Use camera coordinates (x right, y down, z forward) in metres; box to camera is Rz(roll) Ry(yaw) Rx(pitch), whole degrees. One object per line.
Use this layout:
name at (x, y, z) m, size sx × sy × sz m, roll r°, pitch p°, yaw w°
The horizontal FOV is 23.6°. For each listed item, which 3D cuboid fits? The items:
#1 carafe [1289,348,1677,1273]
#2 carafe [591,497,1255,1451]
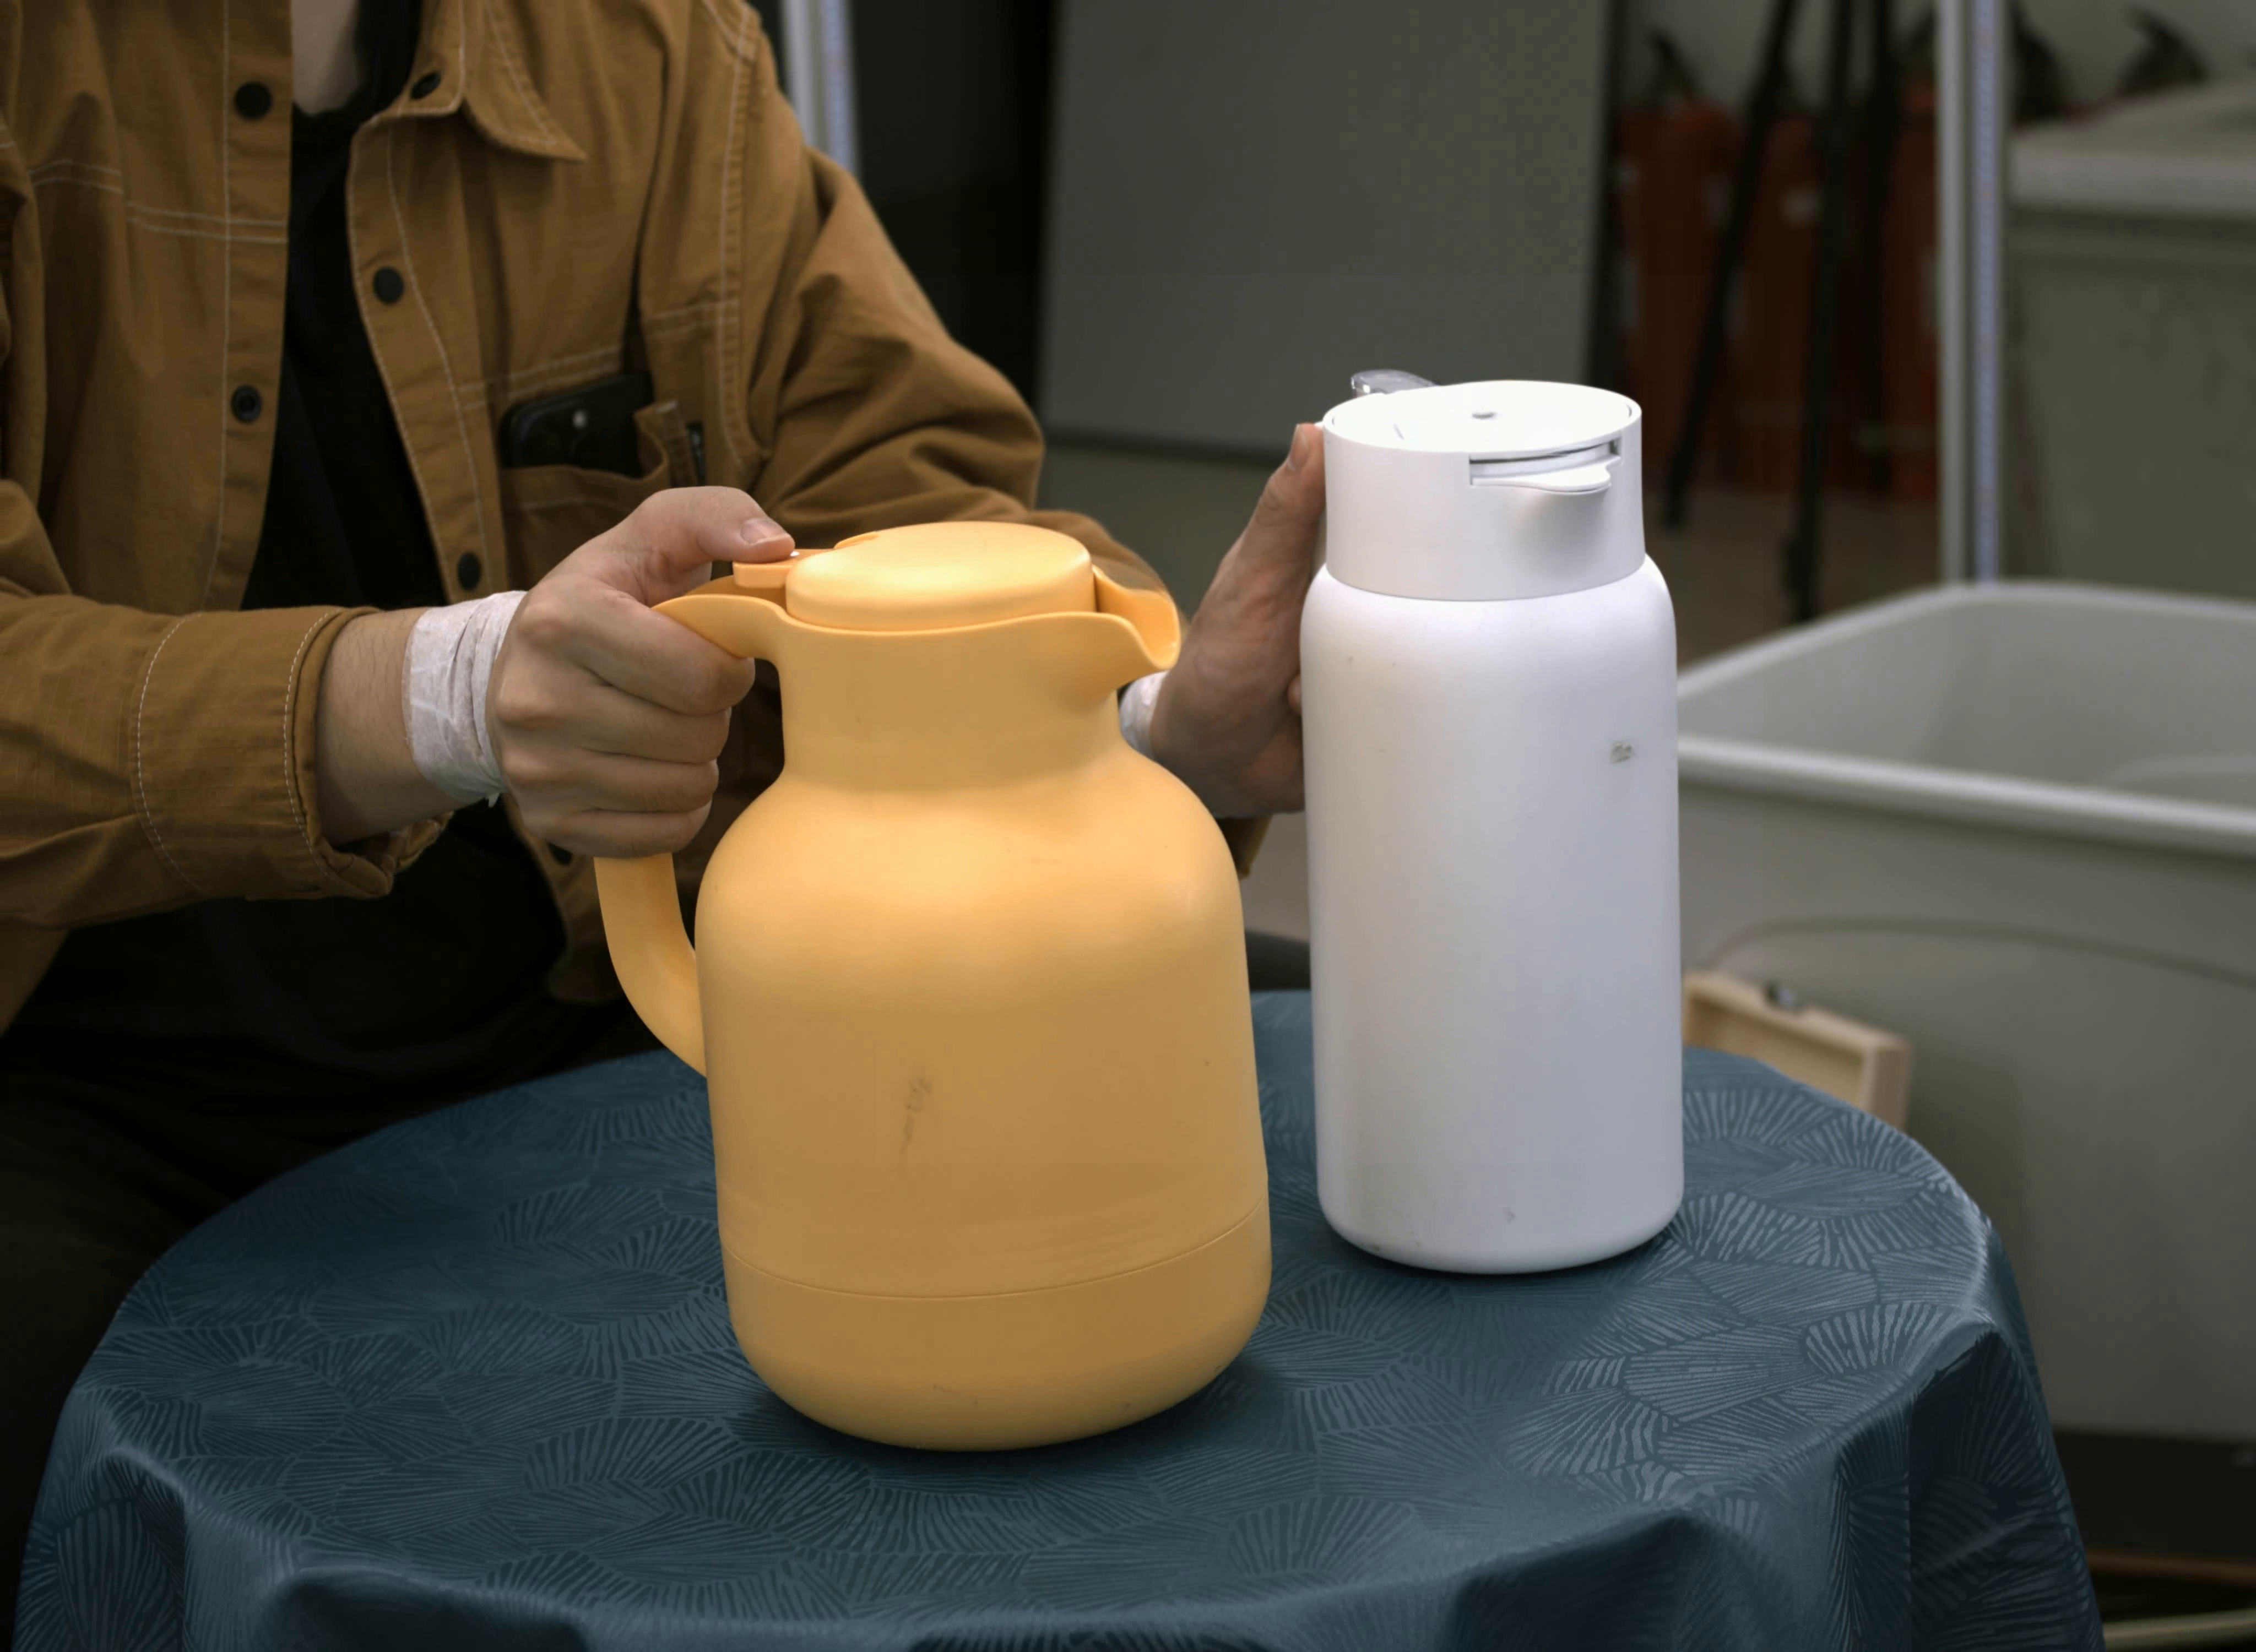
carafe at (0.103, -0.008, 1.691) m, size 0.121 × 0.271 × 0.174 m, roll -12°, pitch 18°, yaw -23°
carafe at (-0.063, 0.037, 1.574) m, size 0.203 × 0.263 × 0.161 m, roll 6°, pitch 16°, yaw 31°
